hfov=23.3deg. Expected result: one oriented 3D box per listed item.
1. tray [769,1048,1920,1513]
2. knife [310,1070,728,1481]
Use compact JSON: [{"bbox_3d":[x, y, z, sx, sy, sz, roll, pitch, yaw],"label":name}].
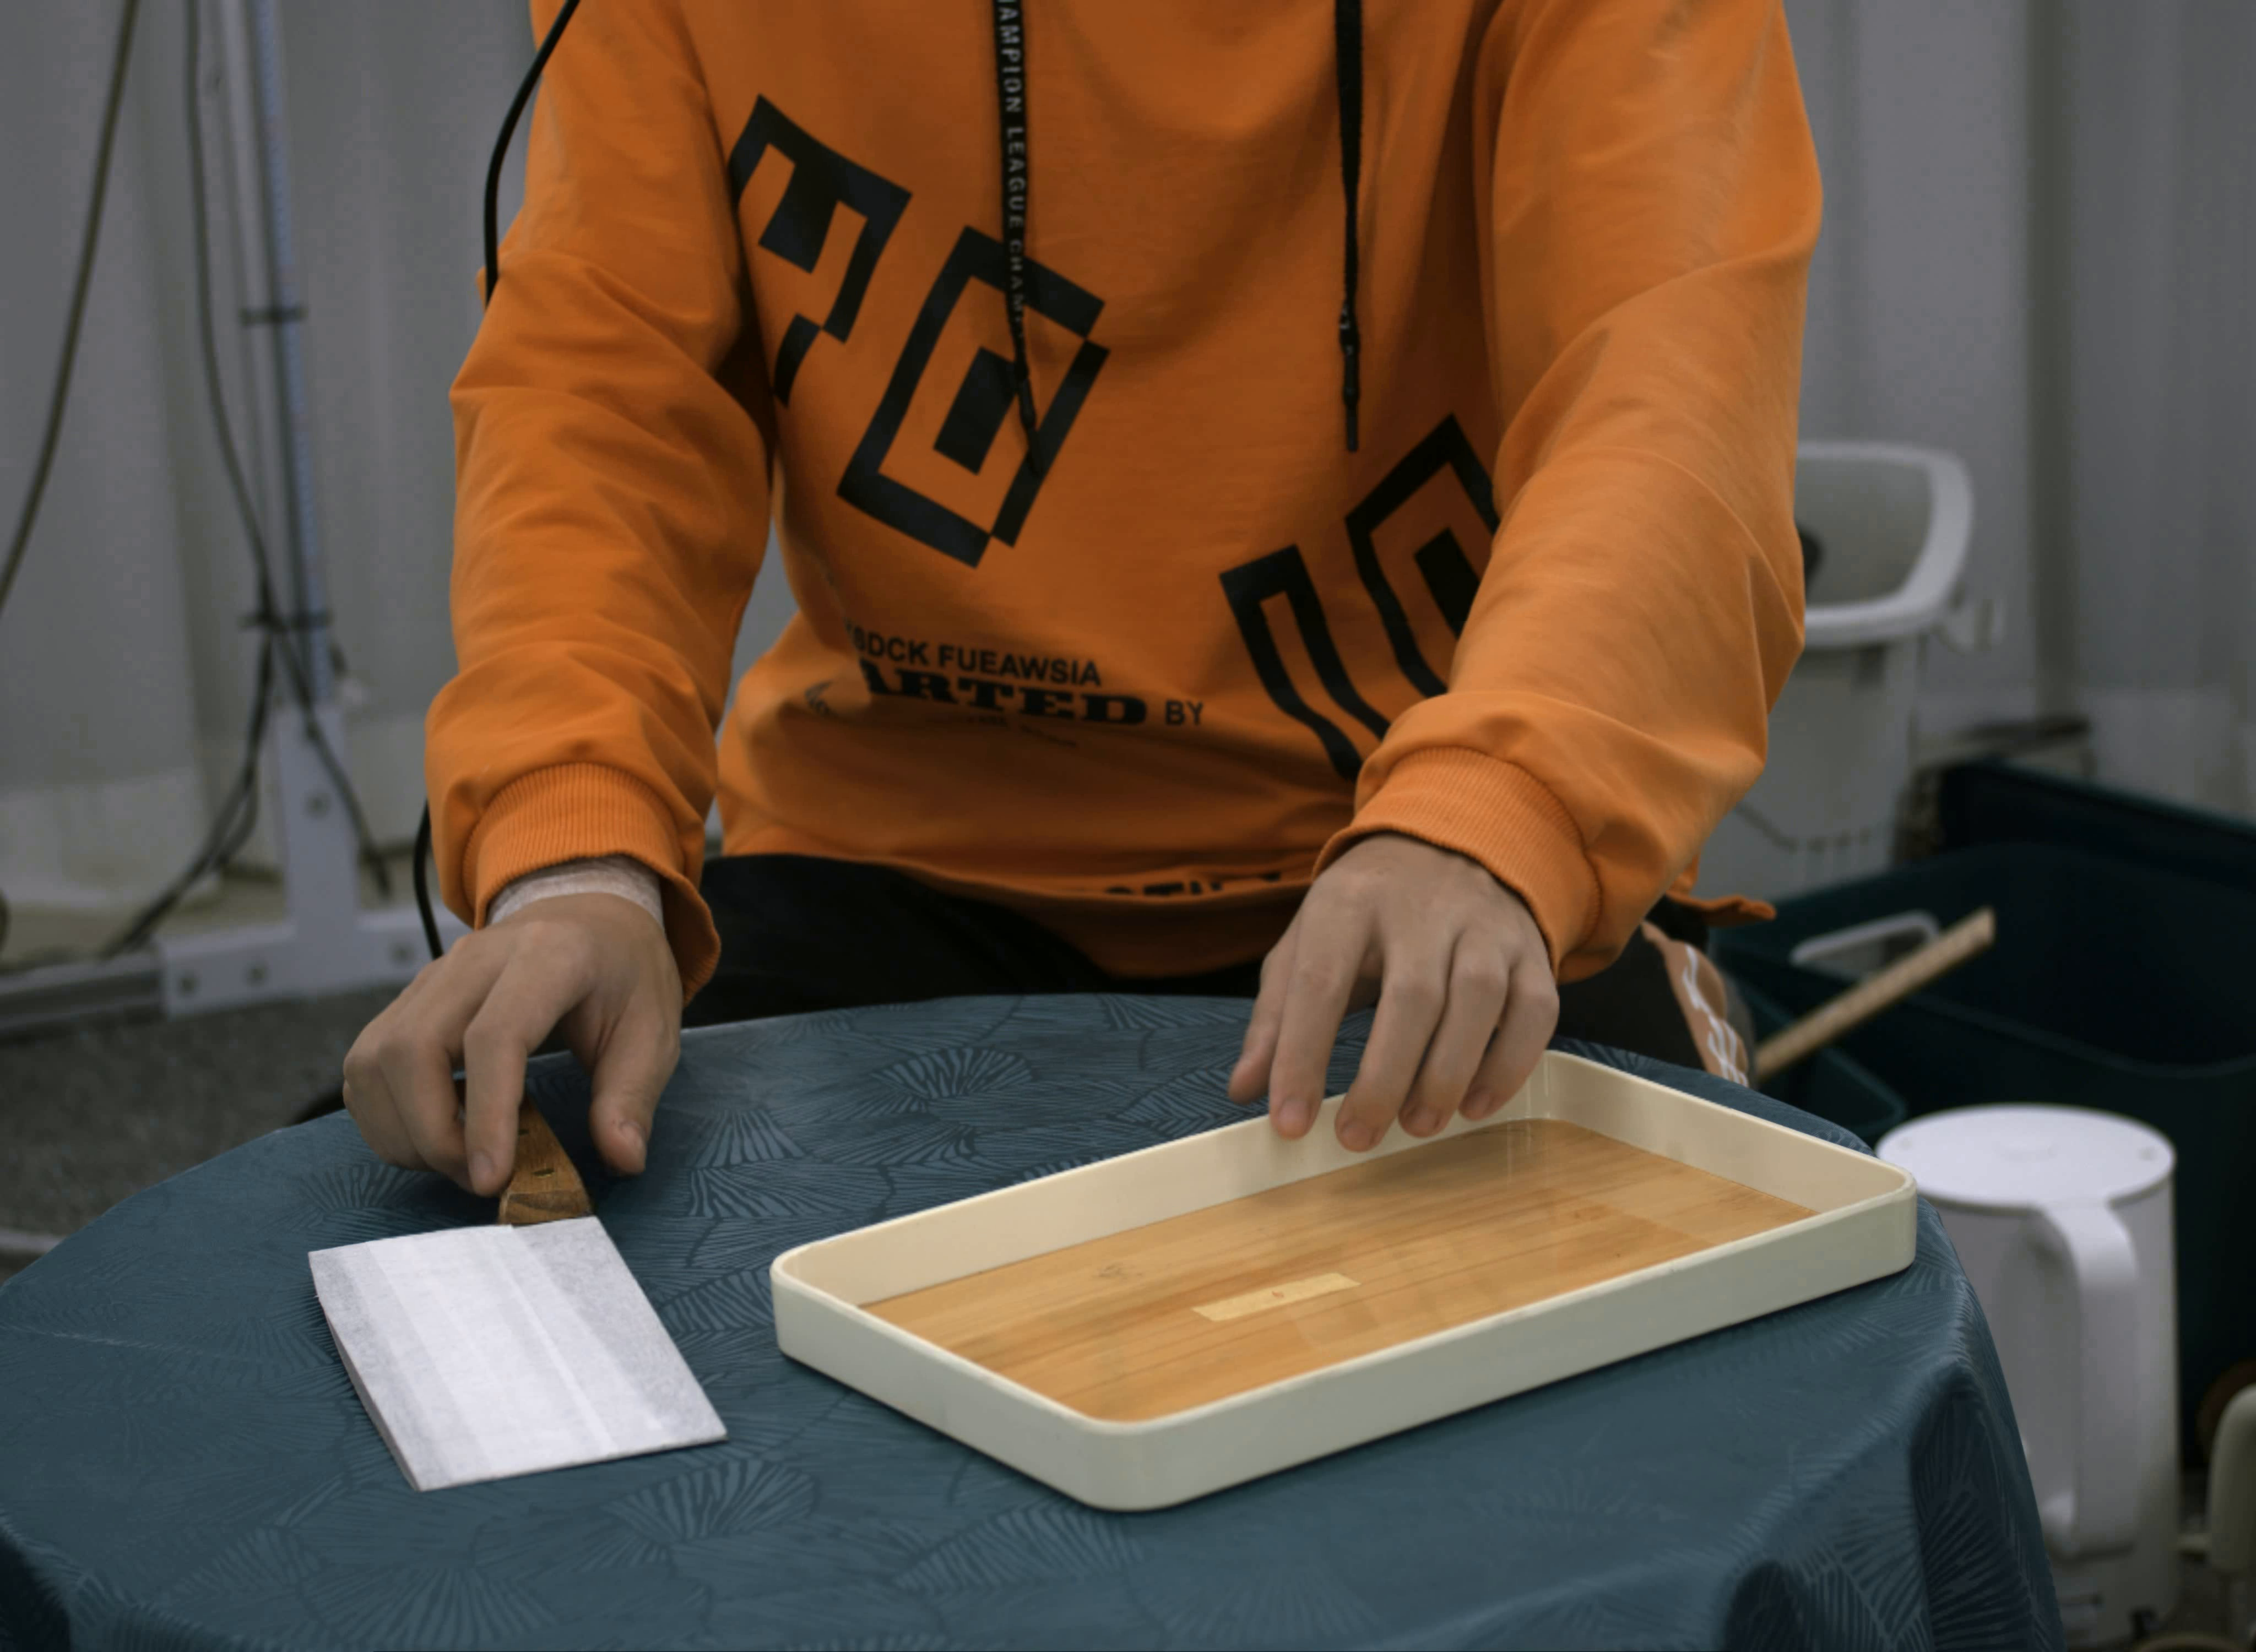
[{"bbox_3d":[0.065,0.128,1.600,0.299,0.027,0.193,-13,18,-33],"label":"tray"},{"bbox_3d":[-0.196,0.135,1.650,0.092,0.021,0.308,-9,18,-15],"label":"knife"}]
